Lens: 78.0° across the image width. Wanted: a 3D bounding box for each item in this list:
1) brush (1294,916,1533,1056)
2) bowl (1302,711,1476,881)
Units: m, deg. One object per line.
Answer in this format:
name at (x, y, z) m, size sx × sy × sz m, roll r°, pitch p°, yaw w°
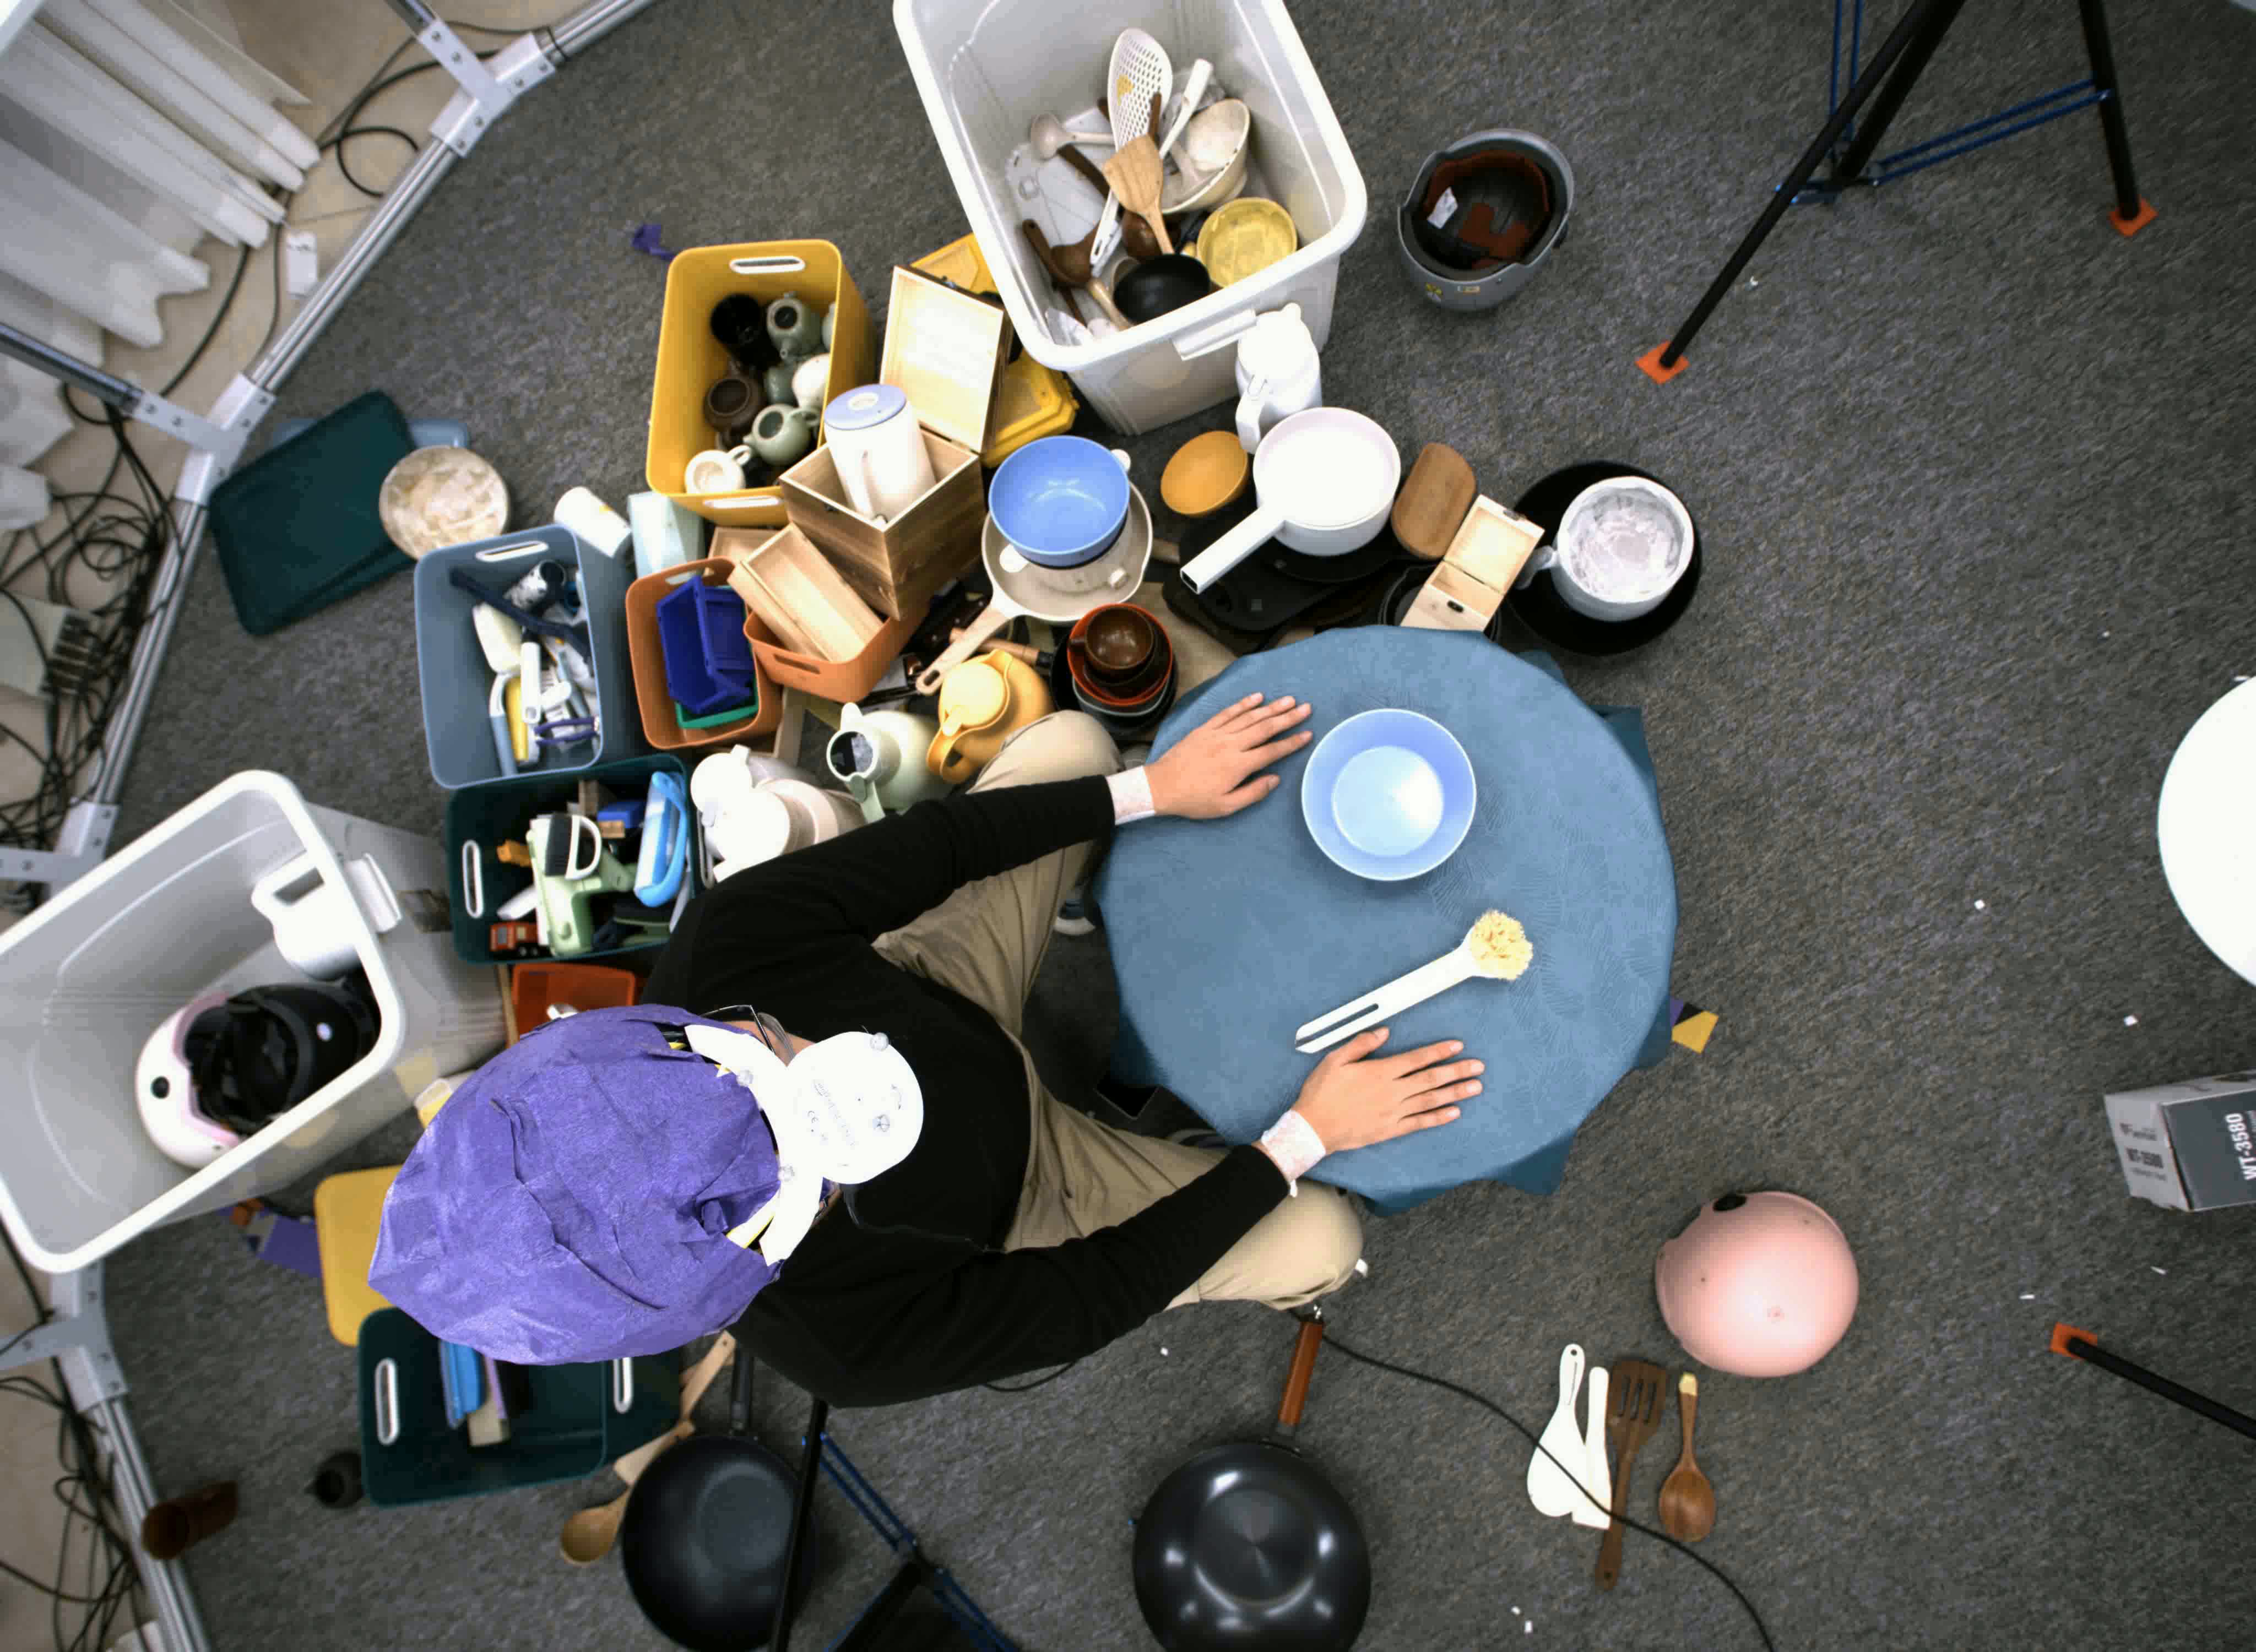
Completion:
brush at (0.291, 0.172, 1.424) m, size 0.268 × 0.056 × 0.068 m, roll -27°, pitch 77°, yaw 9°
bowl at (0.270, -0.029, 1.429) m, size 0.177 × 0.070 × 0.175 m, roll -1°, pitch 86°, yaw 11°
